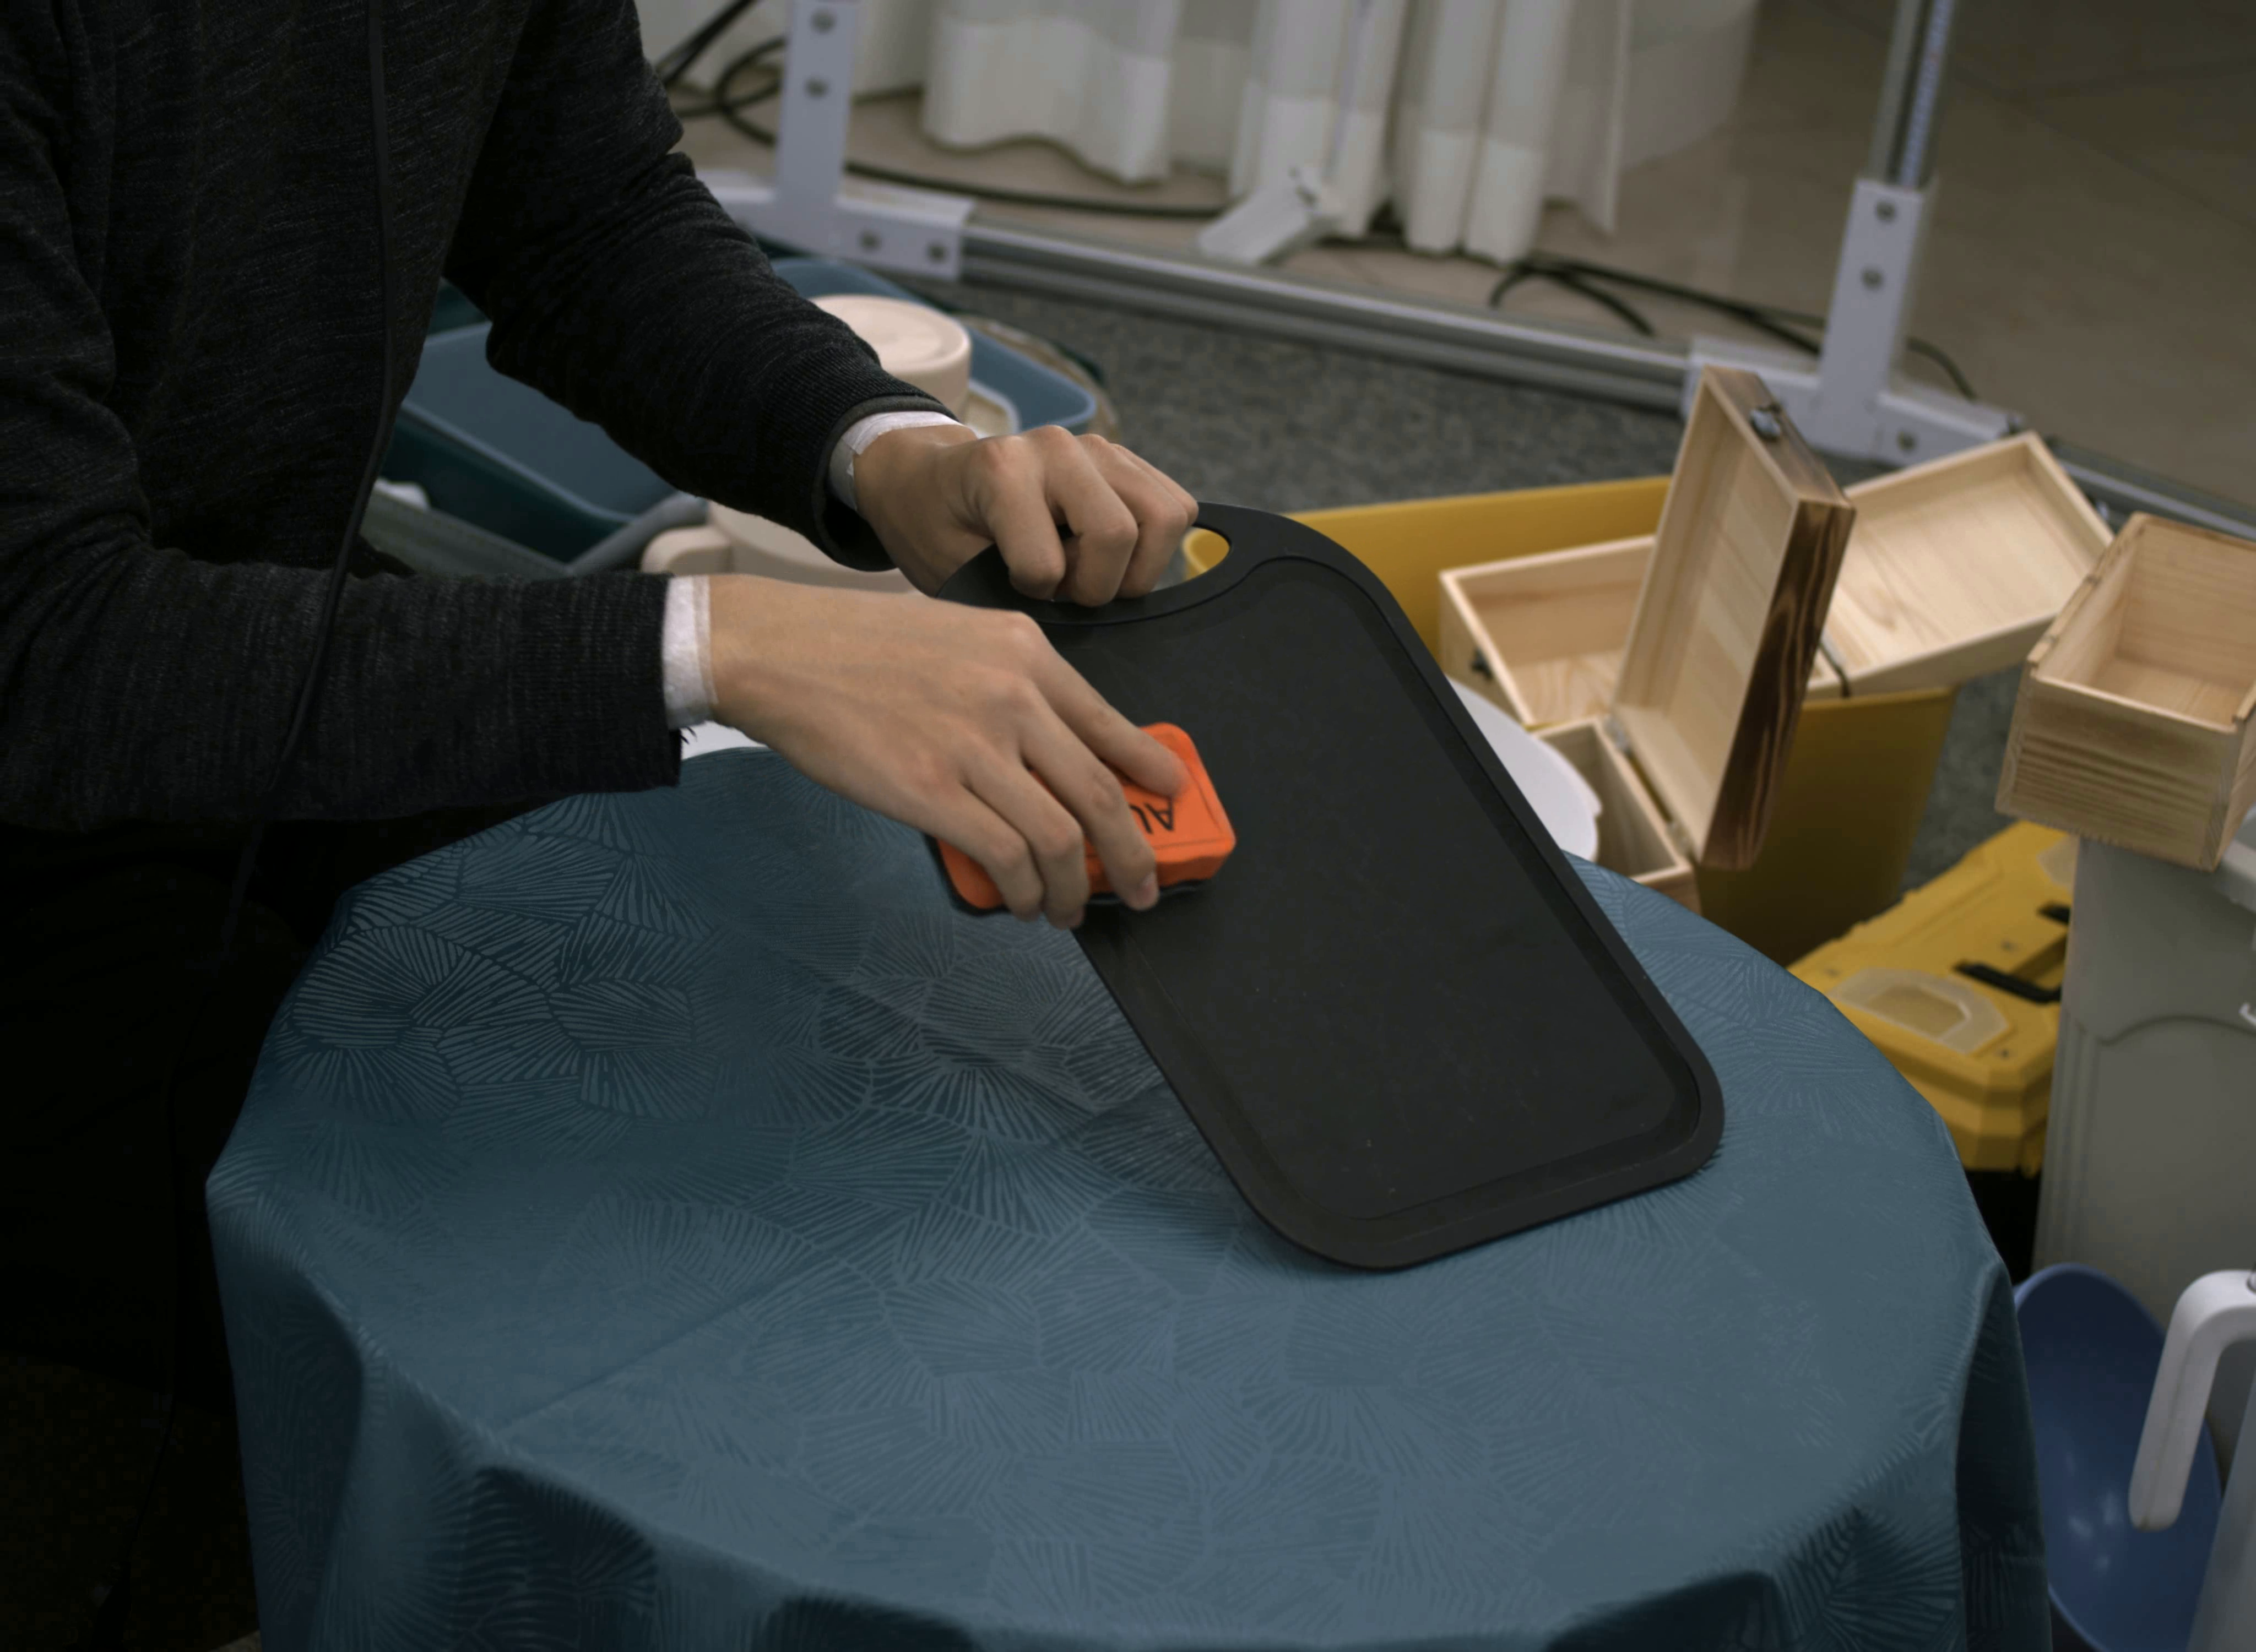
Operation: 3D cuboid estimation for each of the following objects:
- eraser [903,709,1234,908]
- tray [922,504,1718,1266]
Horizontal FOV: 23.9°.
[{"bbox_3d":[-0.020,-0.006,1.833,0.107,0.023,0.059,-9,55,-31],"label":"eraser"},{"bbox_3d":[0.063,0.010,1.879,0.210,0.010,0.328,-13,59,-35],"label":"tray"}]
